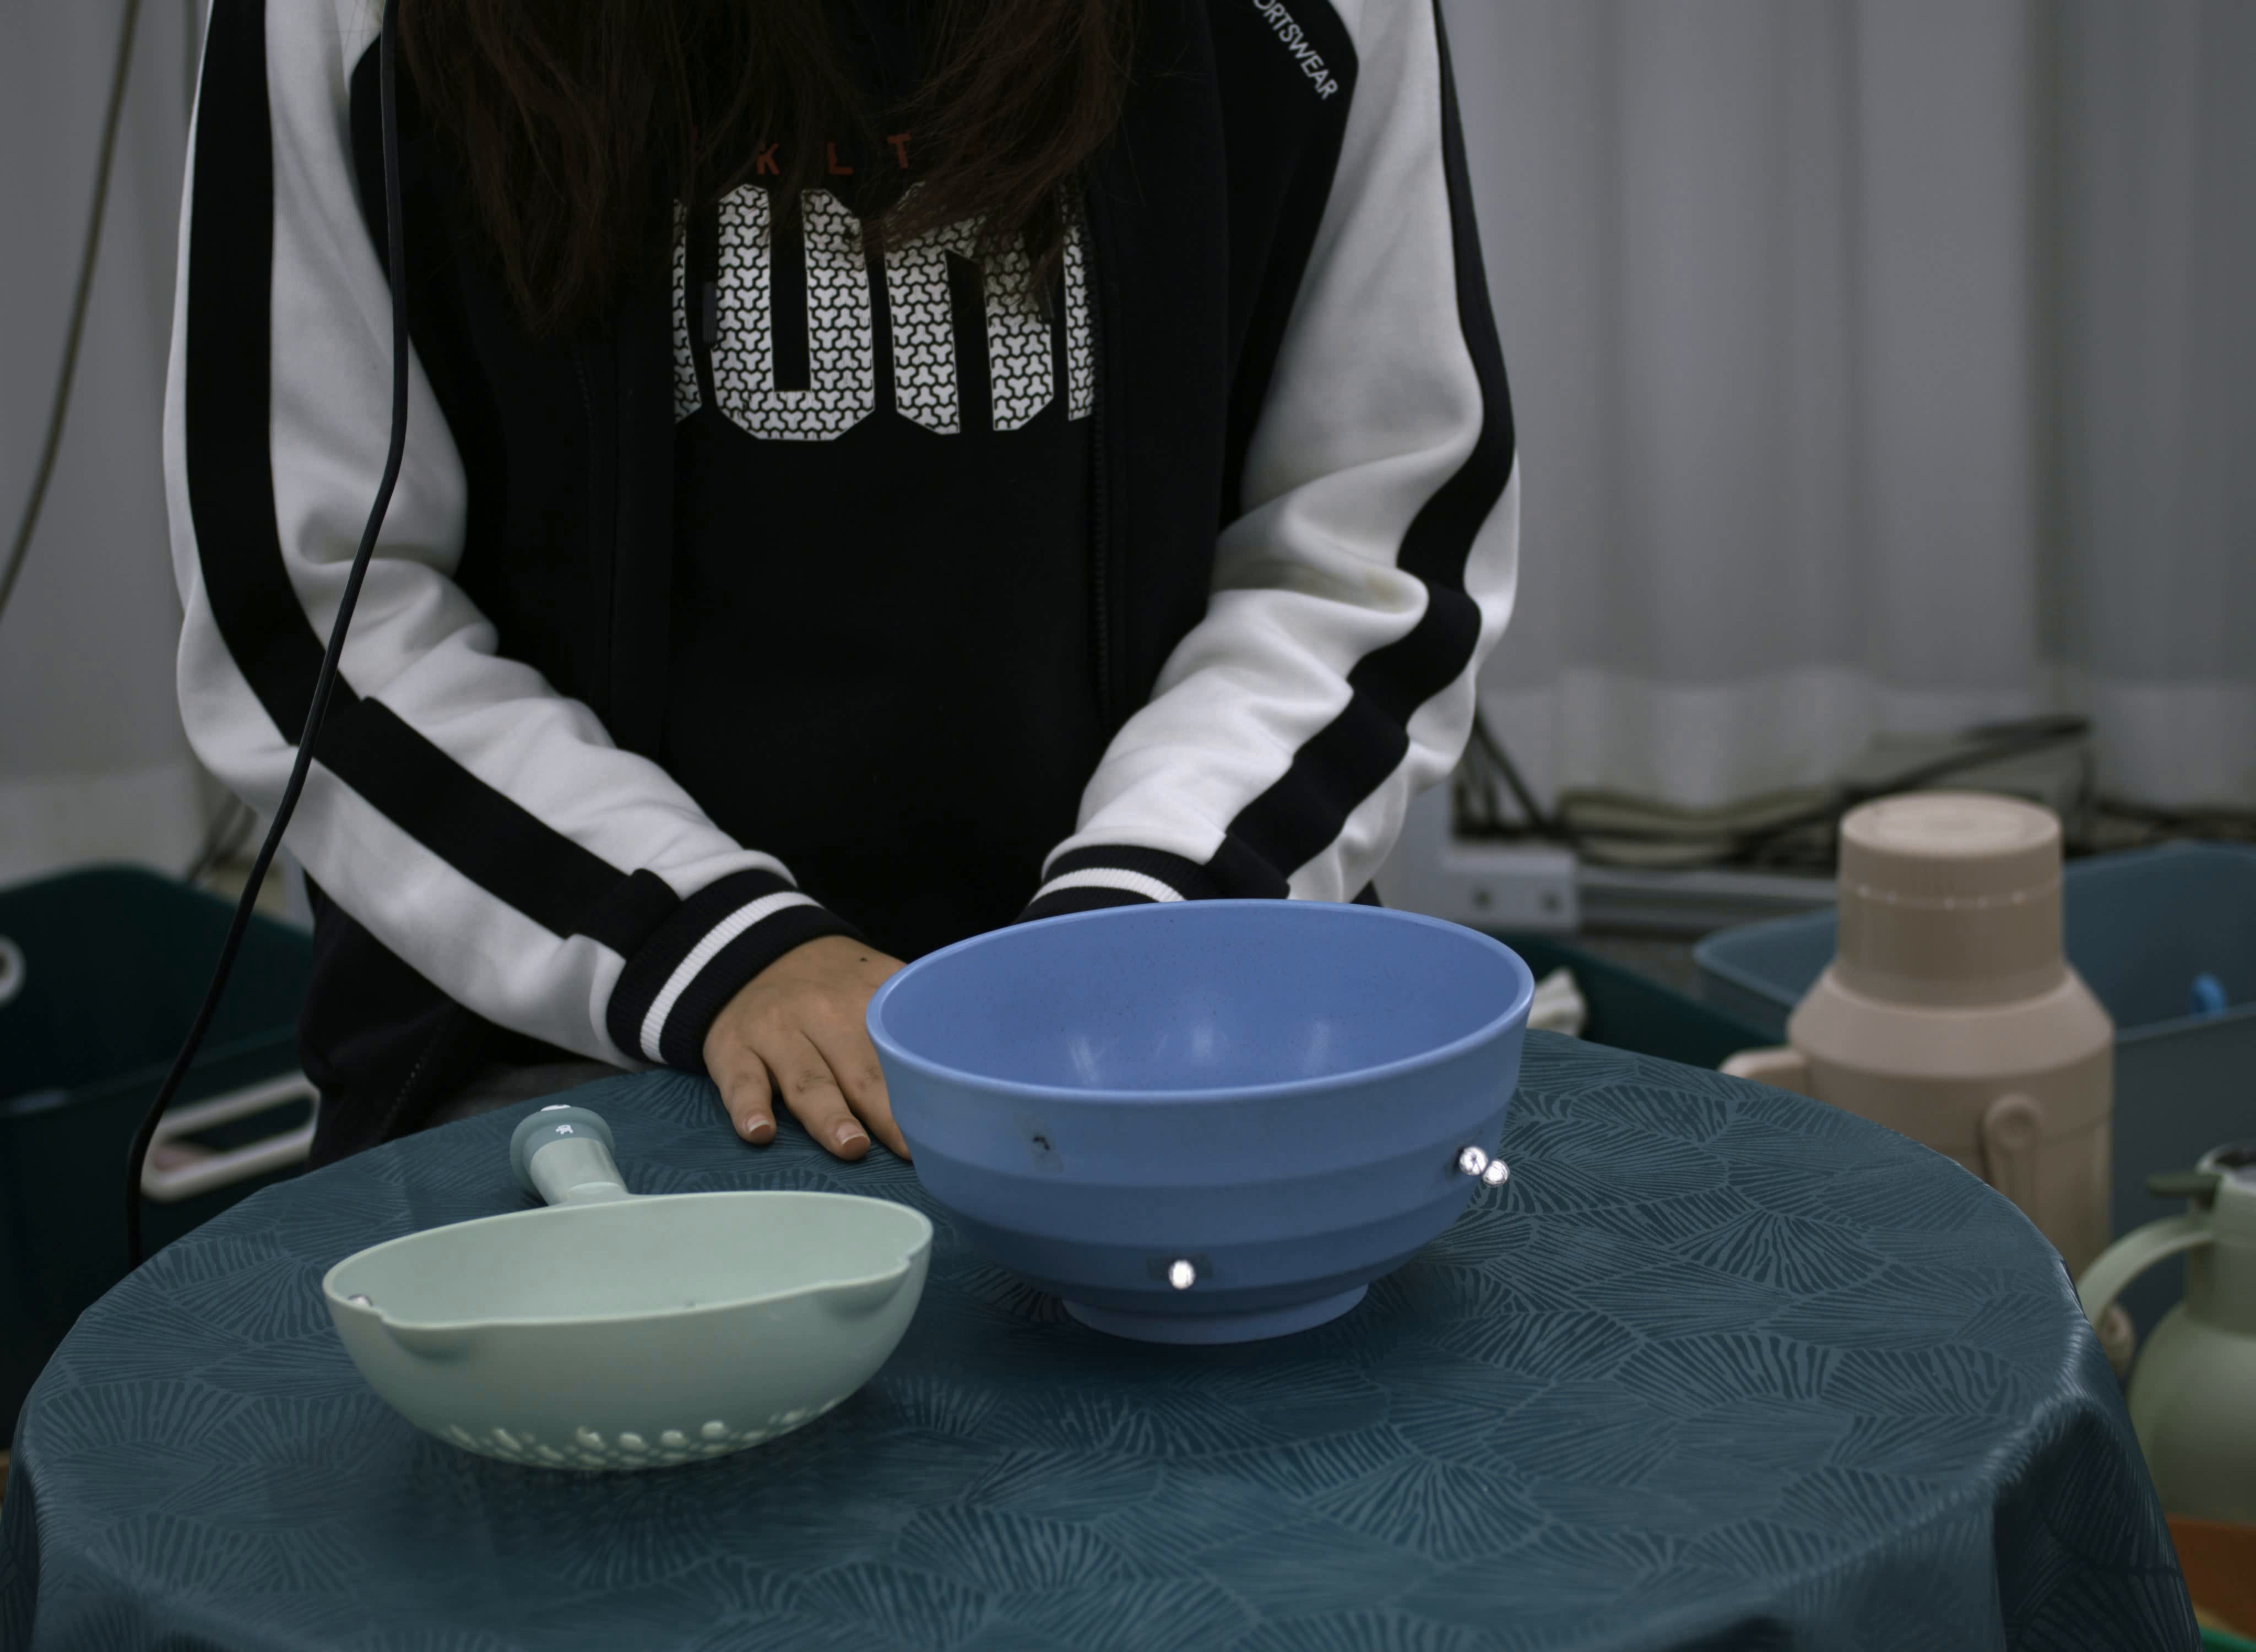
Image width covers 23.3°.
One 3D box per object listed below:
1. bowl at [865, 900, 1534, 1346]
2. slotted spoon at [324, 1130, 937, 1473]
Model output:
[{"bbox_3d":[0.023,0.093,1.608,0.196,0.095,0.198,-3,15,1],"label":"bowl"},{"bbox_3d":[-0.153,0.123,1.603,0.168,0.075,0.361,-4,13,-10],"label":"slotted spoon"}]
